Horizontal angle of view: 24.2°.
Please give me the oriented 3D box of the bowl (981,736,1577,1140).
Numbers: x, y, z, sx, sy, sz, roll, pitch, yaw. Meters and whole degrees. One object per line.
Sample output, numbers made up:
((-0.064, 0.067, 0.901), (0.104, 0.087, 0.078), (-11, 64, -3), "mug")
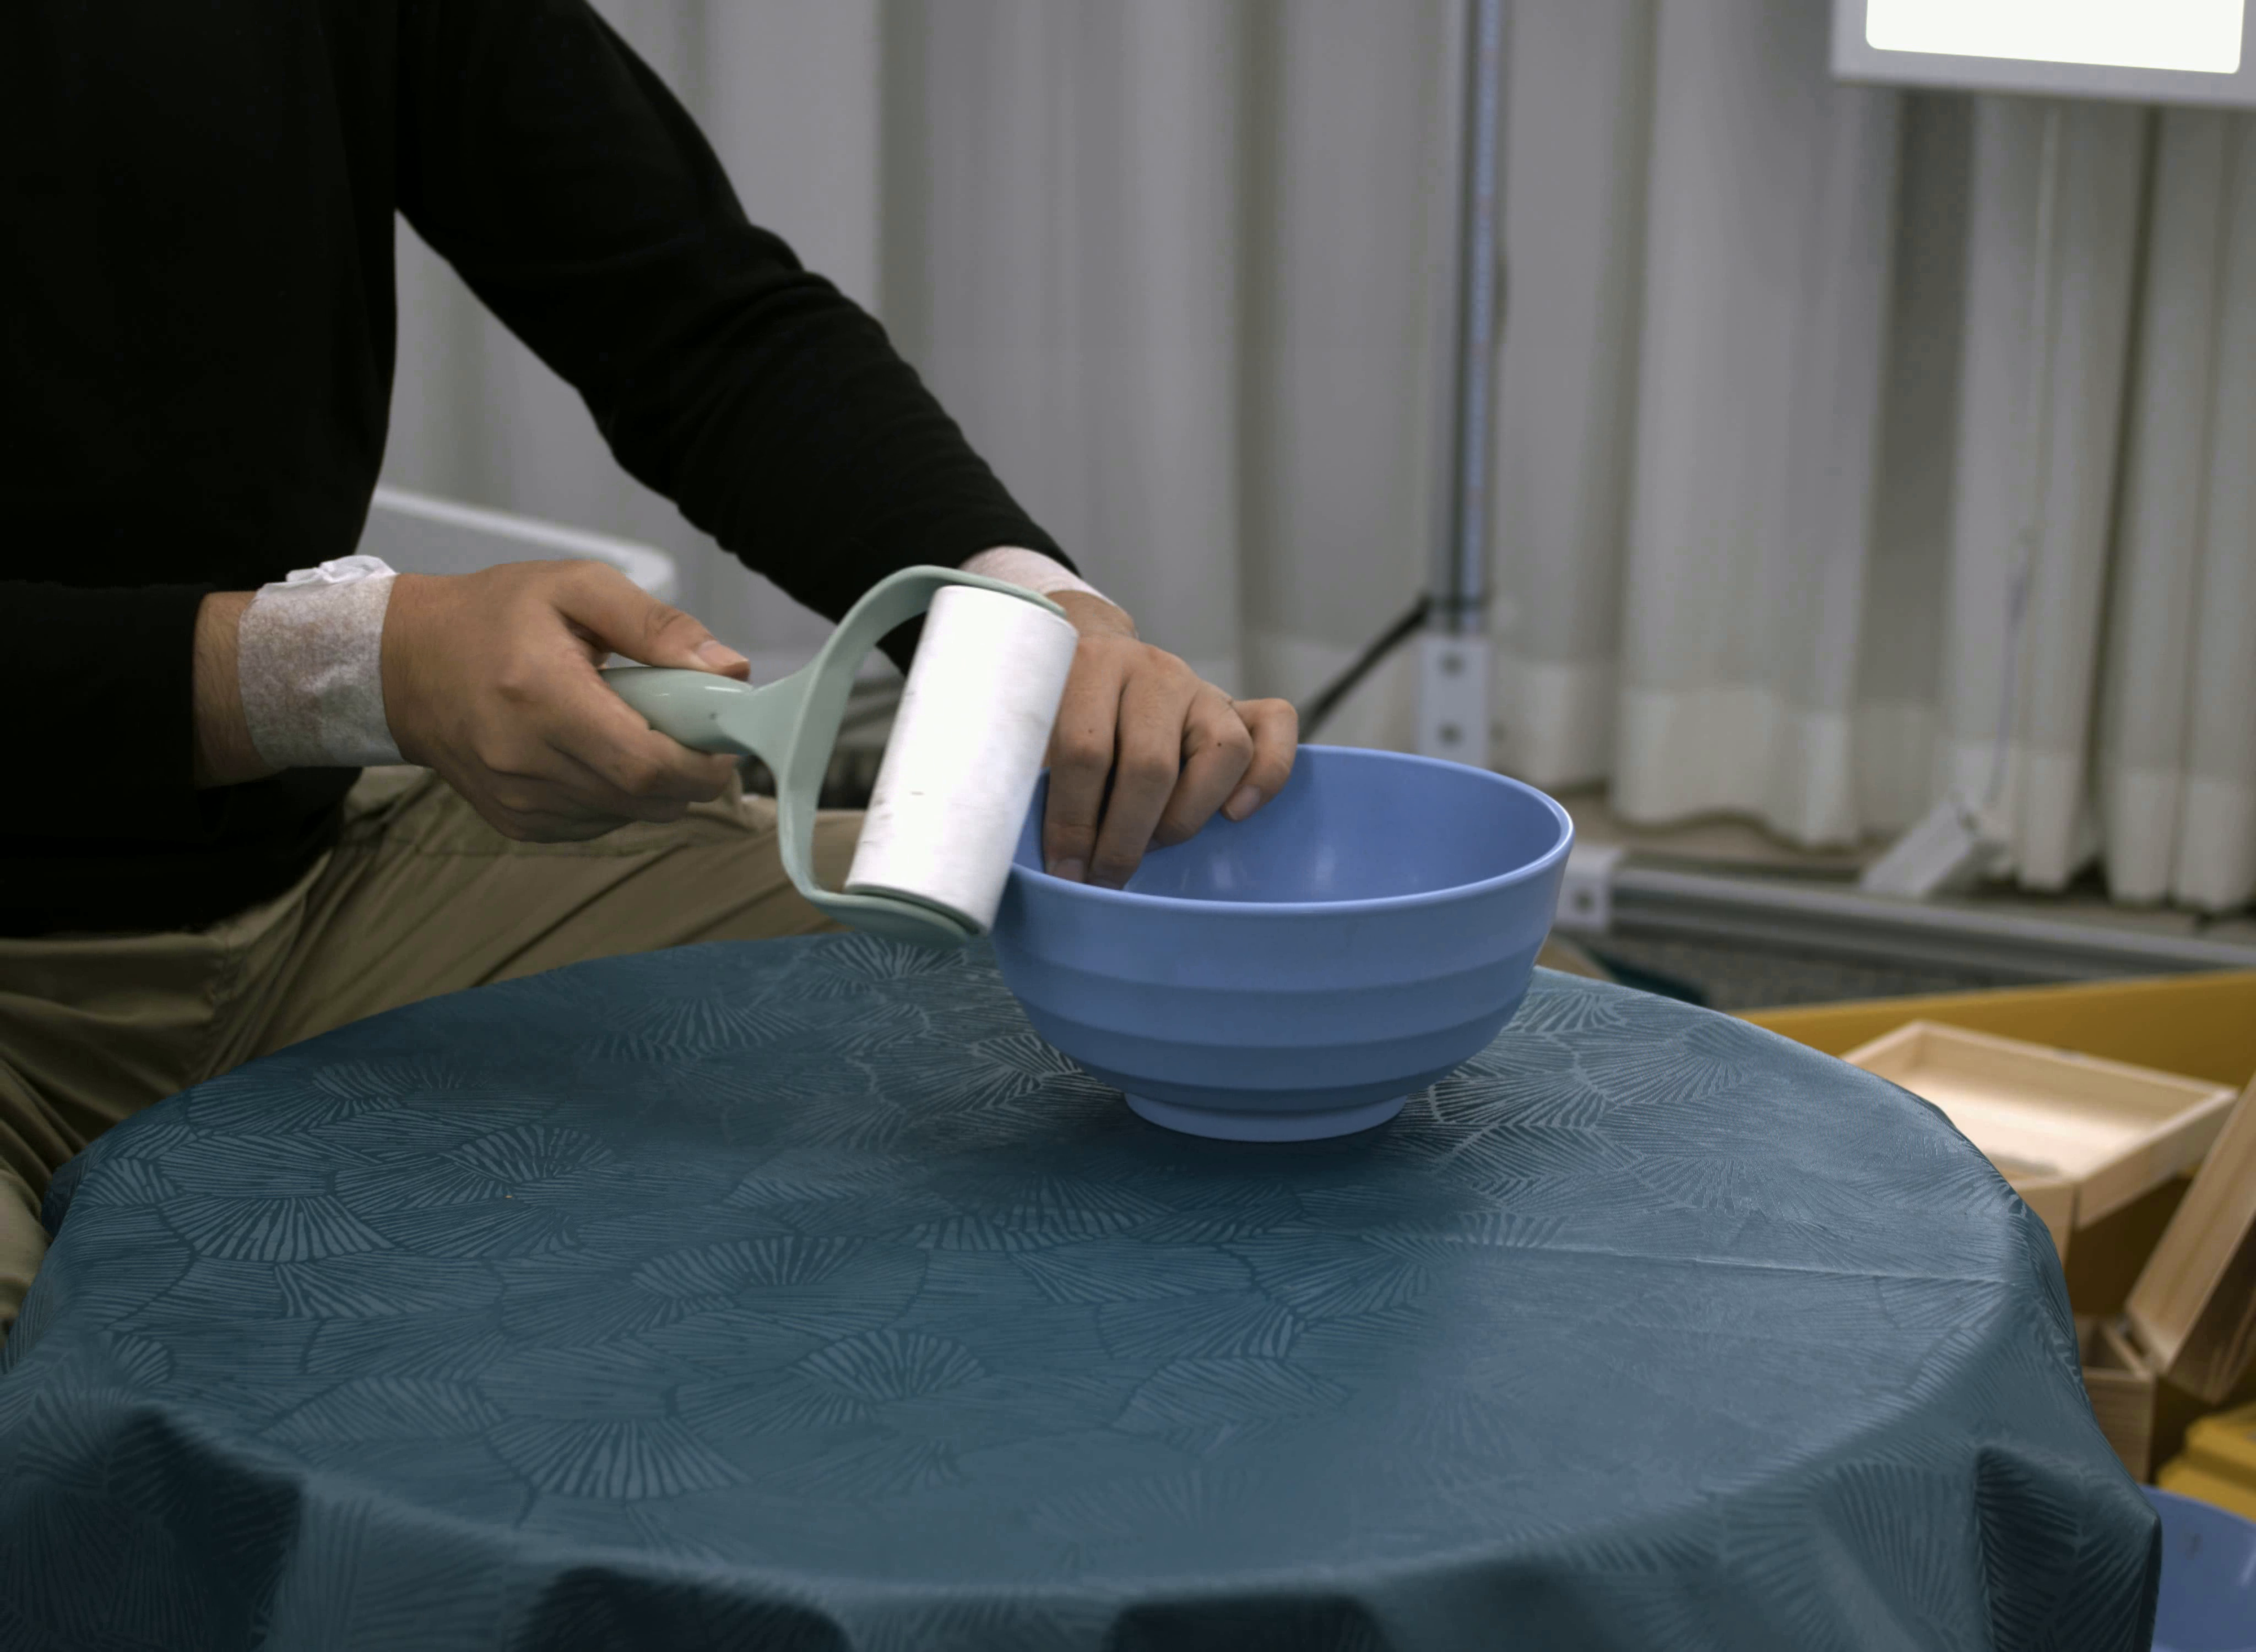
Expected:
((0.045, 0.041, 1.695), (0.196, 0.096, 0.195), (0, 17, 0), "bowl")

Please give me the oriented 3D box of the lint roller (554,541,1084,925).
((-0.109, -0.036, 1.664), (0.195, 0.116, 0.049), (8, -15, 31), "lint roller")
